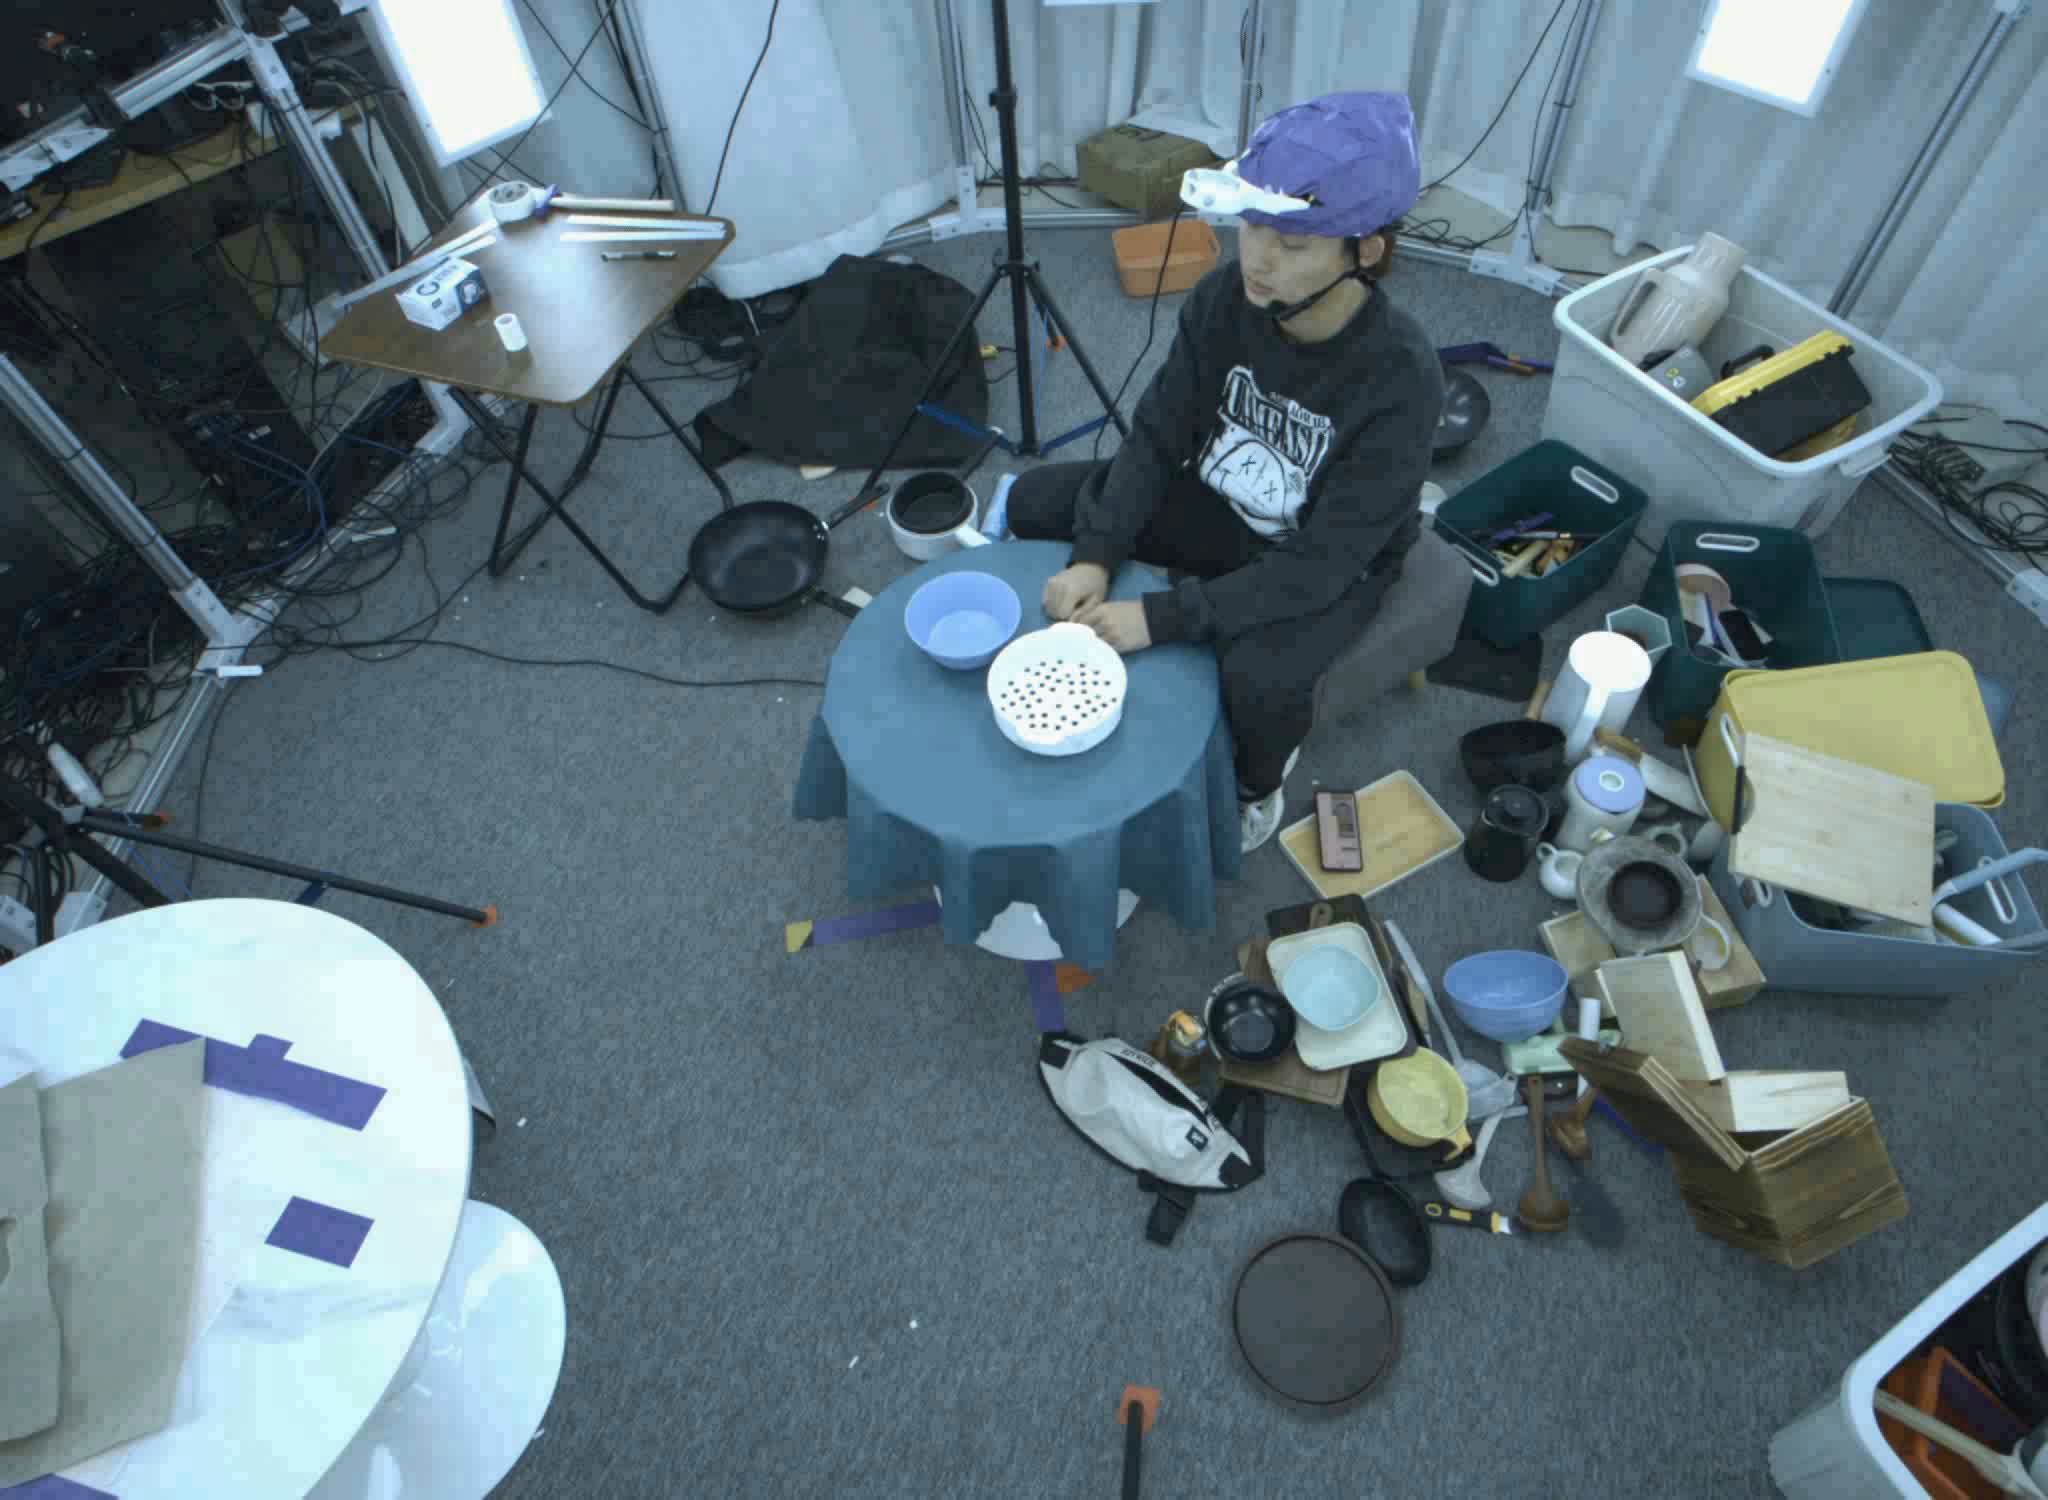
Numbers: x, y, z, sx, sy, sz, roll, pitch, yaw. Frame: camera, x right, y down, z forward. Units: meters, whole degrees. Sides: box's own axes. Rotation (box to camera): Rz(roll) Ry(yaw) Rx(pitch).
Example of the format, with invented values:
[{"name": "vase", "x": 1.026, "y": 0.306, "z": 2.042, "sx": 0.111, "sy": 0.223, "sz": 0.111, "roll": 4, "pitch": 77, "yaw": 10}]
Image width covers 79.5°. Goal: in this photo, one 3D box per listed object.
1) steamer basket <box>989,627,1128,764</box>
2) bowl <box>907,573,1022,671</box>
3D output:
[{"name": "steamer basket", "x": 0.052, "y": -0.074, "z": 1.806, "sx": 0.200, "sy": 0.070, "sz": 0.229, "roll": 10, "pitch": 58, "yaw": 9}, {"name": "bowl", "x": -0.089, "y": -0.186, "z": 1.887, "sx": 0.176, "sy": 0.071, "sz": 0.174, "roll": -1, "pitch": 55, "yaw": 3}]
